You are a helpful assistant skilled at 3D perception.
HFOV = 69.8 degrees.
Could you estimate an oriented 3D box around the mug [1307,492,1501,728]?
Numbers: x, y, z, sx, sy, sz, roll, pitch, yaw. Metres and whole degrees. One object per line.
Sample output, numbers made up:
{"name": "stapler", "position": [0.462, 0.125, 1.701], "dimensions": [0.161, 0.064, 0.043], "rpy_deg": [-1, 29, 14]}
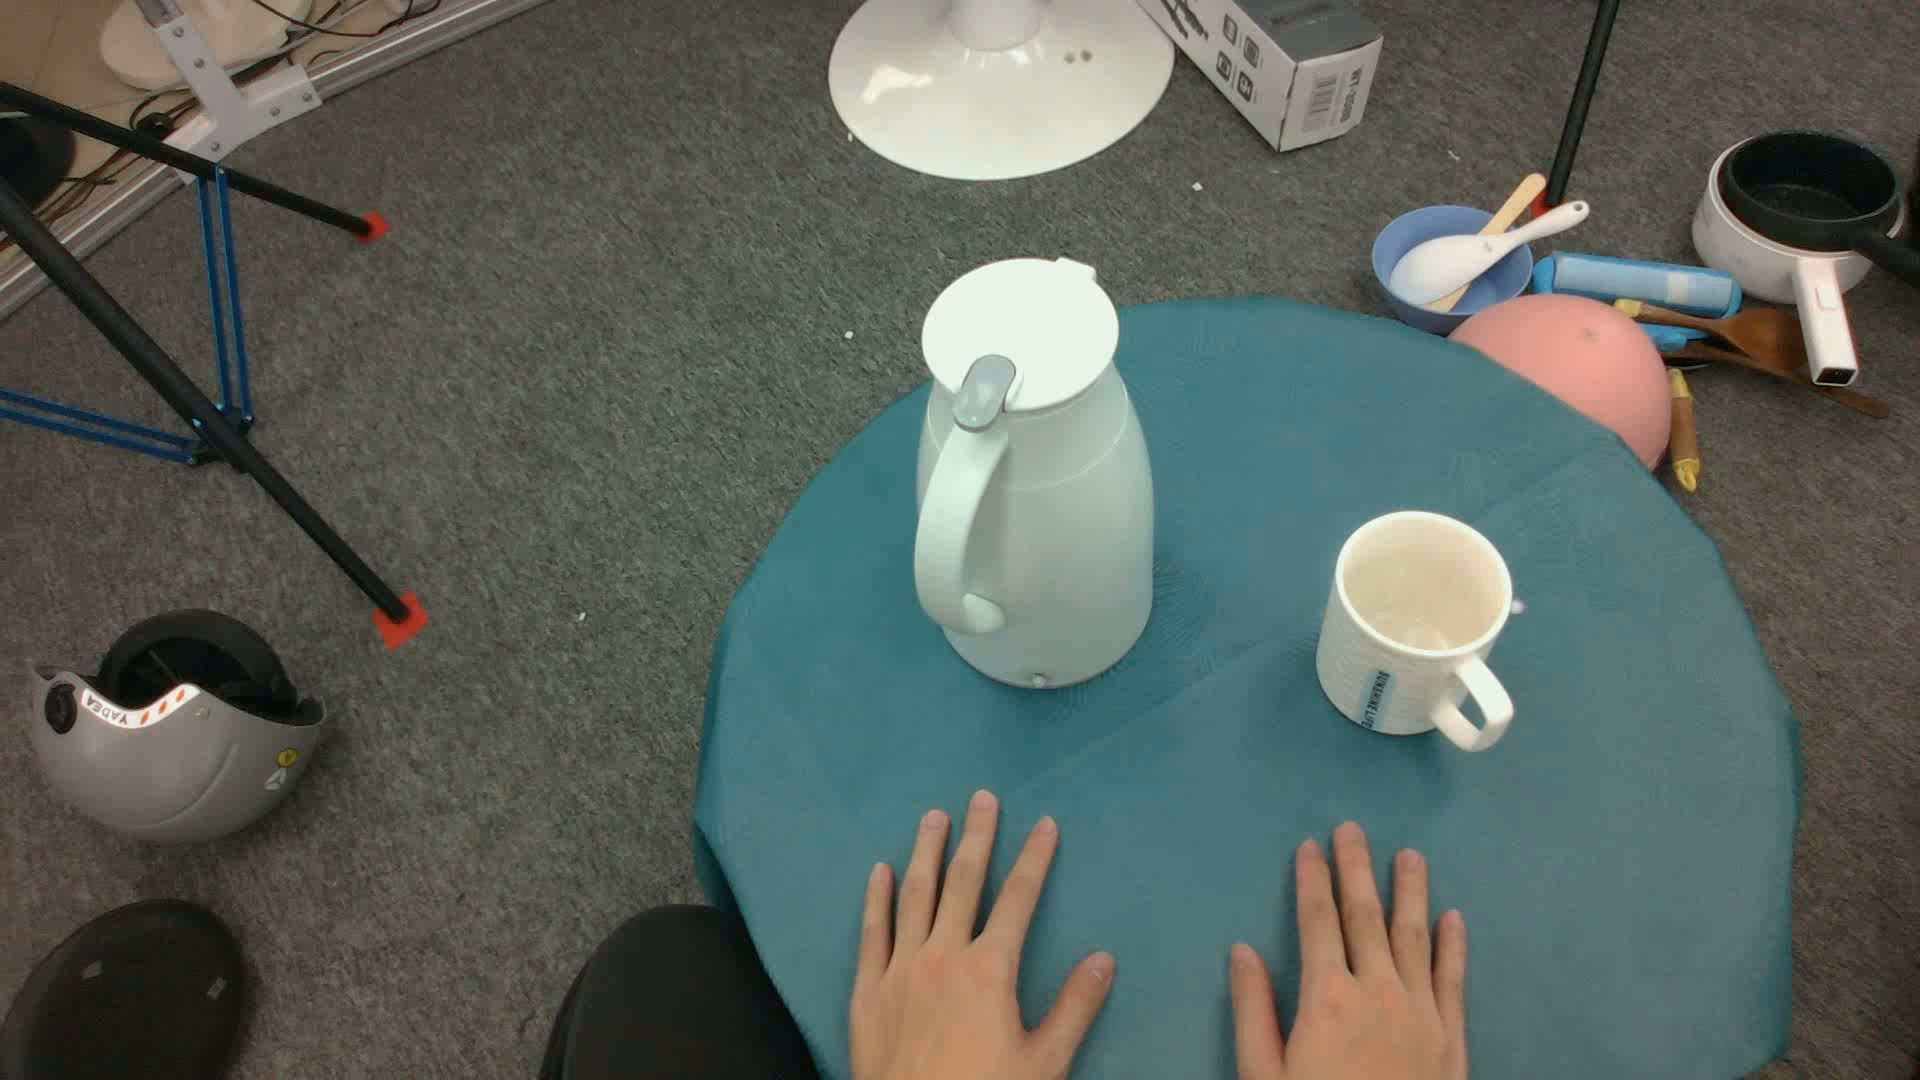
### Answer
{"name": "mug", "position": [0.243, 0.048, 0.738], "dimensions": [0.085, 0.101, 0.118], "rpy_deg": [-26, 59, -9]}

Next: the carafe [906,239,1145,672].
{"name": "carafe", "position": [0.026, -0.028, 0.722], "dimensions": [0.132, 0.247, 0.168], "rpy_deg": [20, 62, 17]}
